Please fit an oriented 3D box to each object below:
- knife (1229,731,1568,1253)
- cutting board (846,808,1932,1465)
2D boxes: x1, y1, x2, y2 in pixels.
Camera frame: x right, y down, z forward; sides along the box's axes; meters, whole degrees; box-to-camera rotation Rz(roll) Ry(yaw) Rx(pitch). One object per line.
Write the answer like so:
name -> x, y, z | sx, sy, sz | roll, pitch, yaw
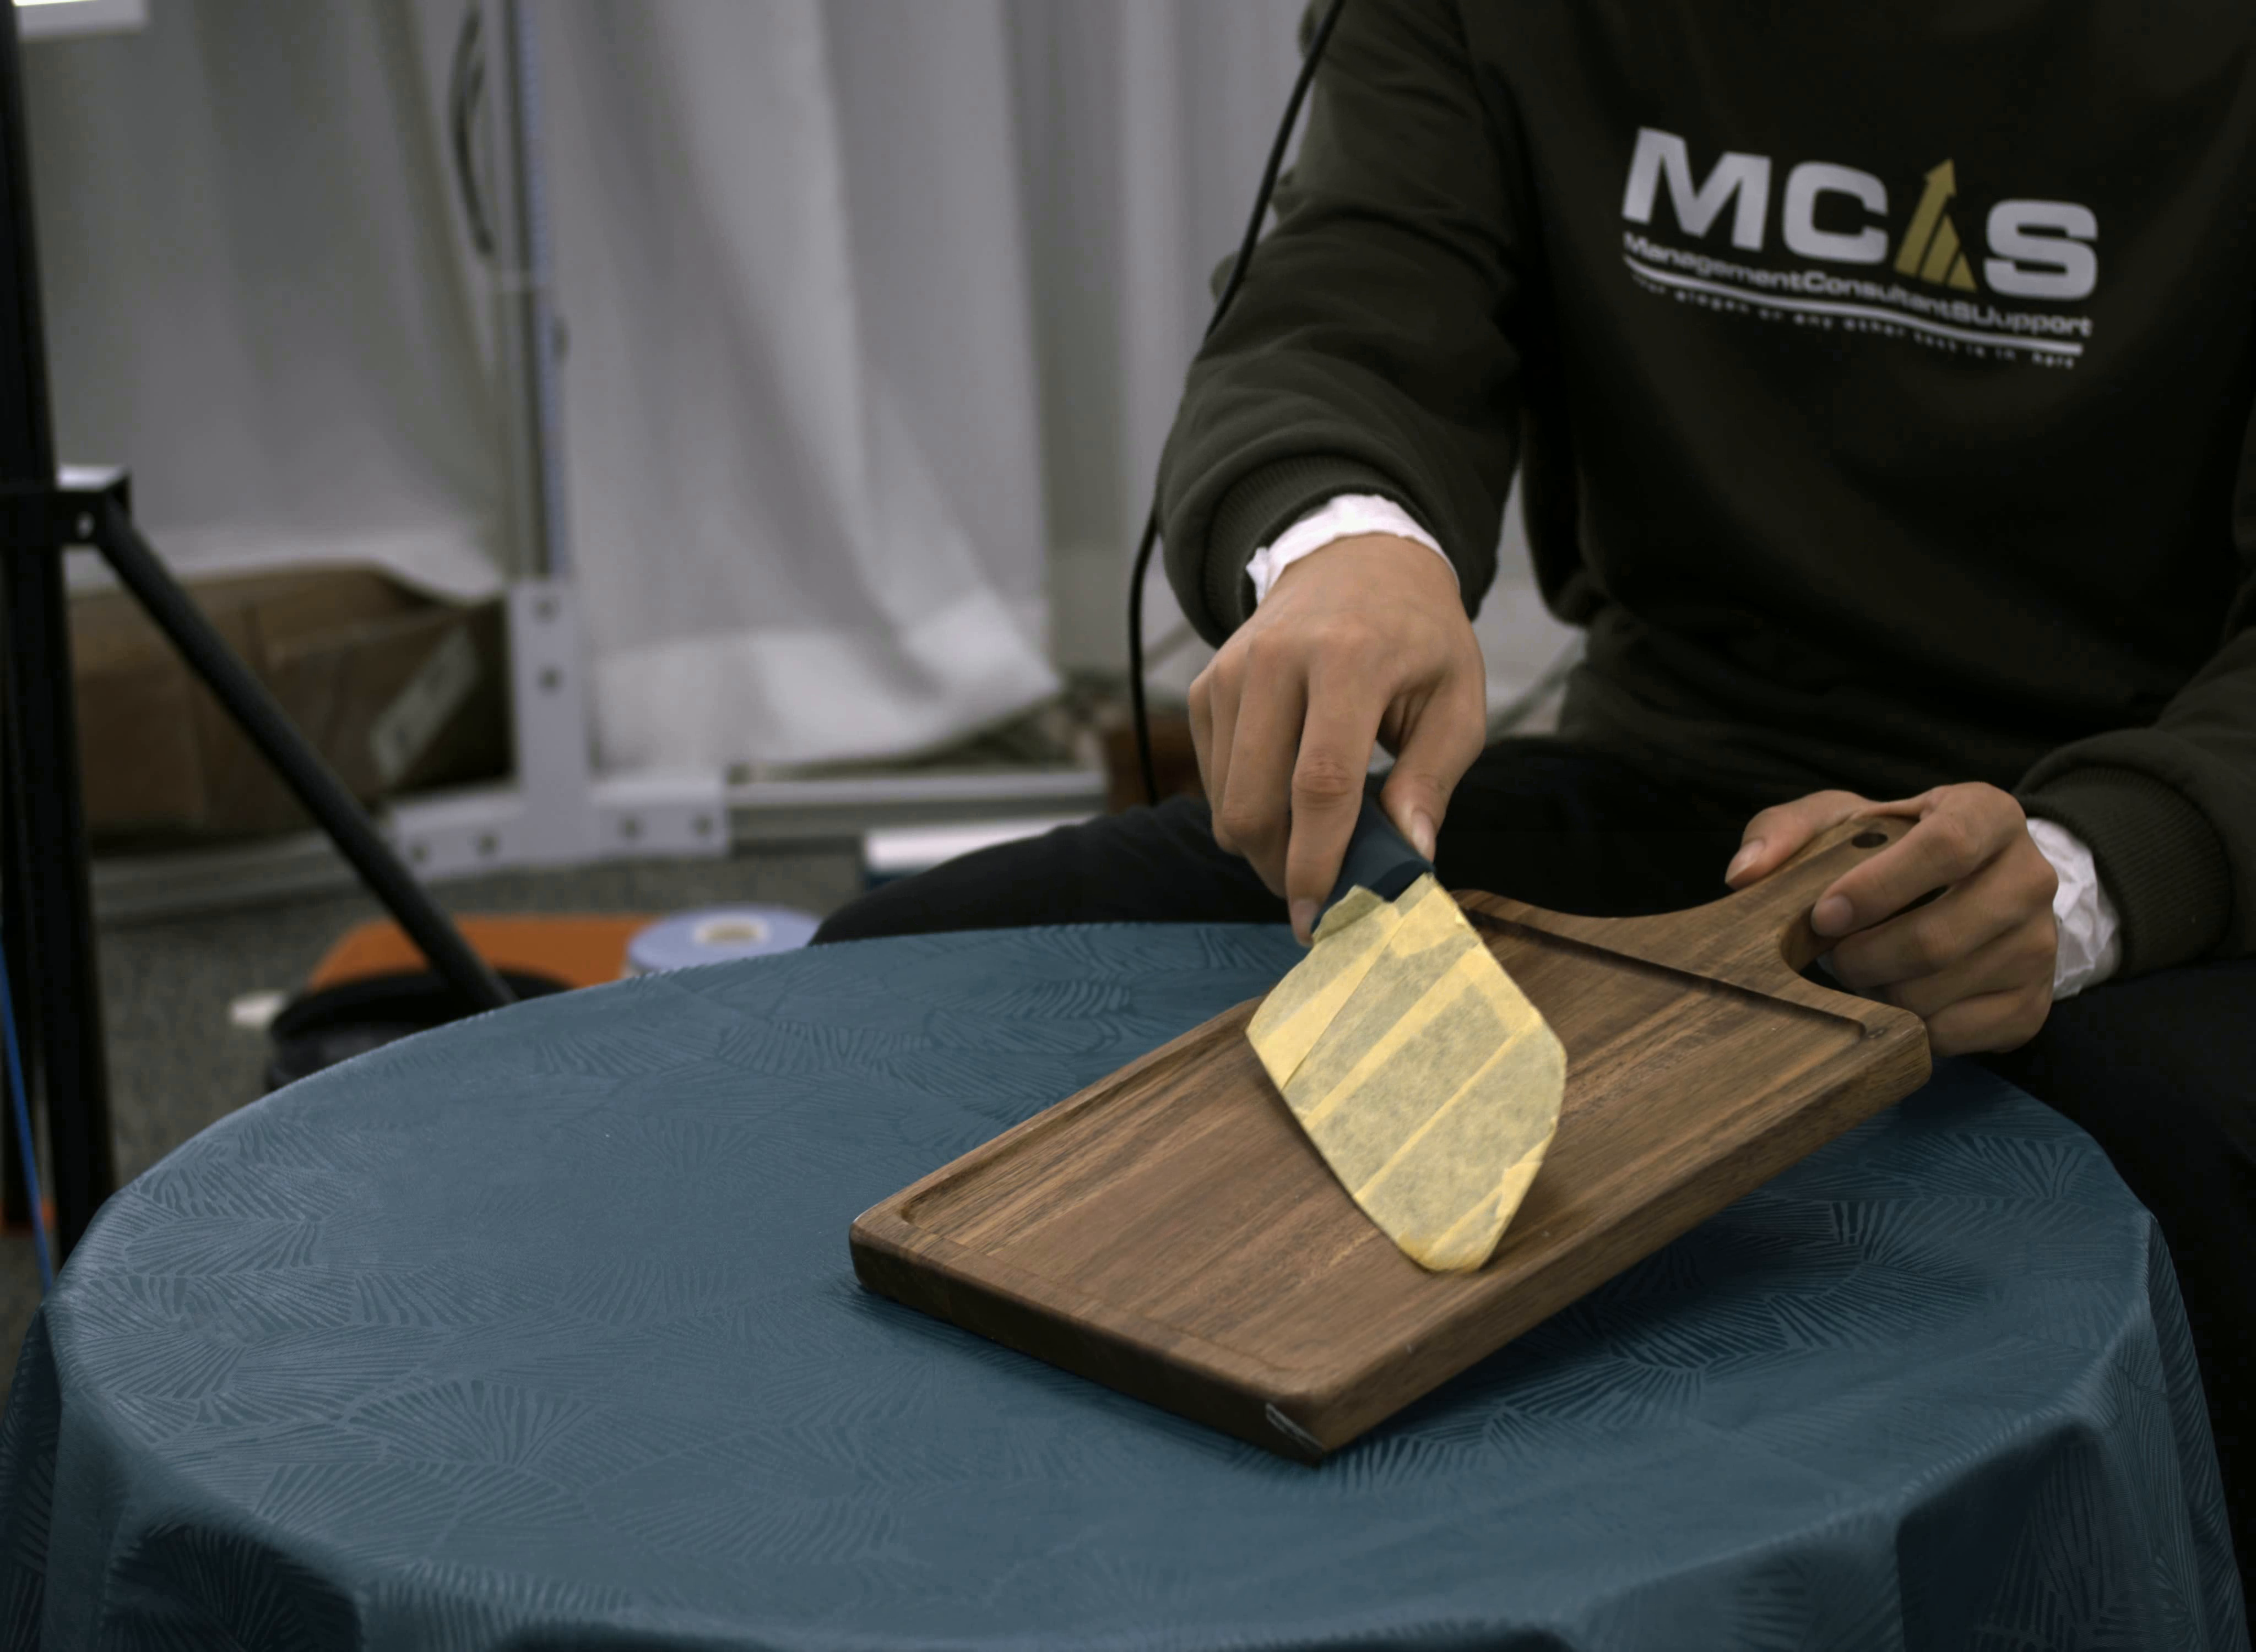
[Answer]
knife -> 0.066, 0.044, 1.517 | 0.081, 0.027, 0.294 | -42, 27, 8
cutting board -> 0.109, 0.072, 1.513 | 0.346, 0.023, 0.206 | -28, 28, -33
